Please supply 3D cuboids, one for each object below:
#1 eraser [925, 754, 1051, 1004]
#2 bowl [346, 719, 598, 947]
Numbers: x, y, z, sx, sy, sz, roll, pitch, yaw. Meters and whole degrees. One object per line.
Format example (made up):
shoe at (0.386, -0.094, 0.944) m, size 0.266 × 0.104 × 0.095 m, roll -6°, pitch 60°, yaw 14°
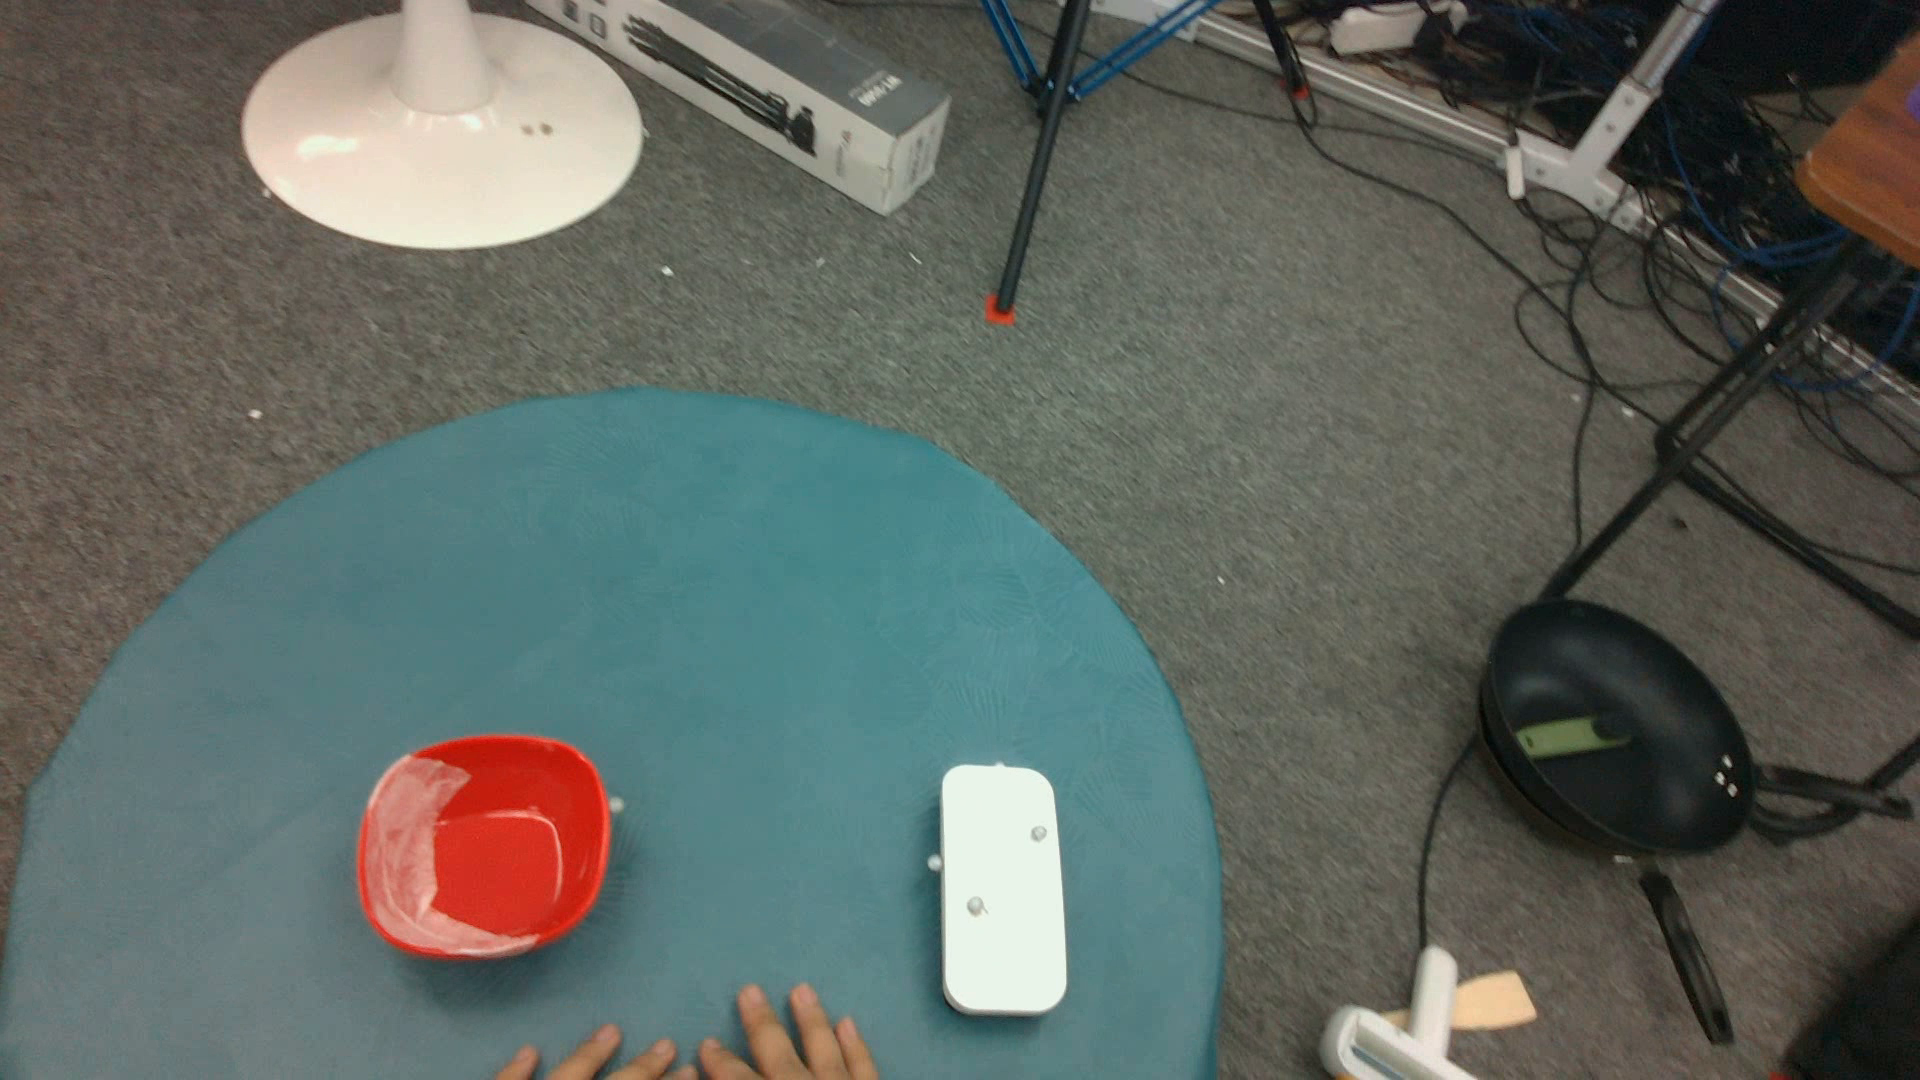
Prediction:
eraser at (0.011, 0.172, 0.712) m, size 0.063 × 0.034 × 0.132 m, roll 6°, pitch 51°, yaw -9°
bowl at (-0.231, 0.146, 0.658) m, size 0.119 × 0.051 × 0.119 m, roll 8°, pitch 53°, yaw -10°
